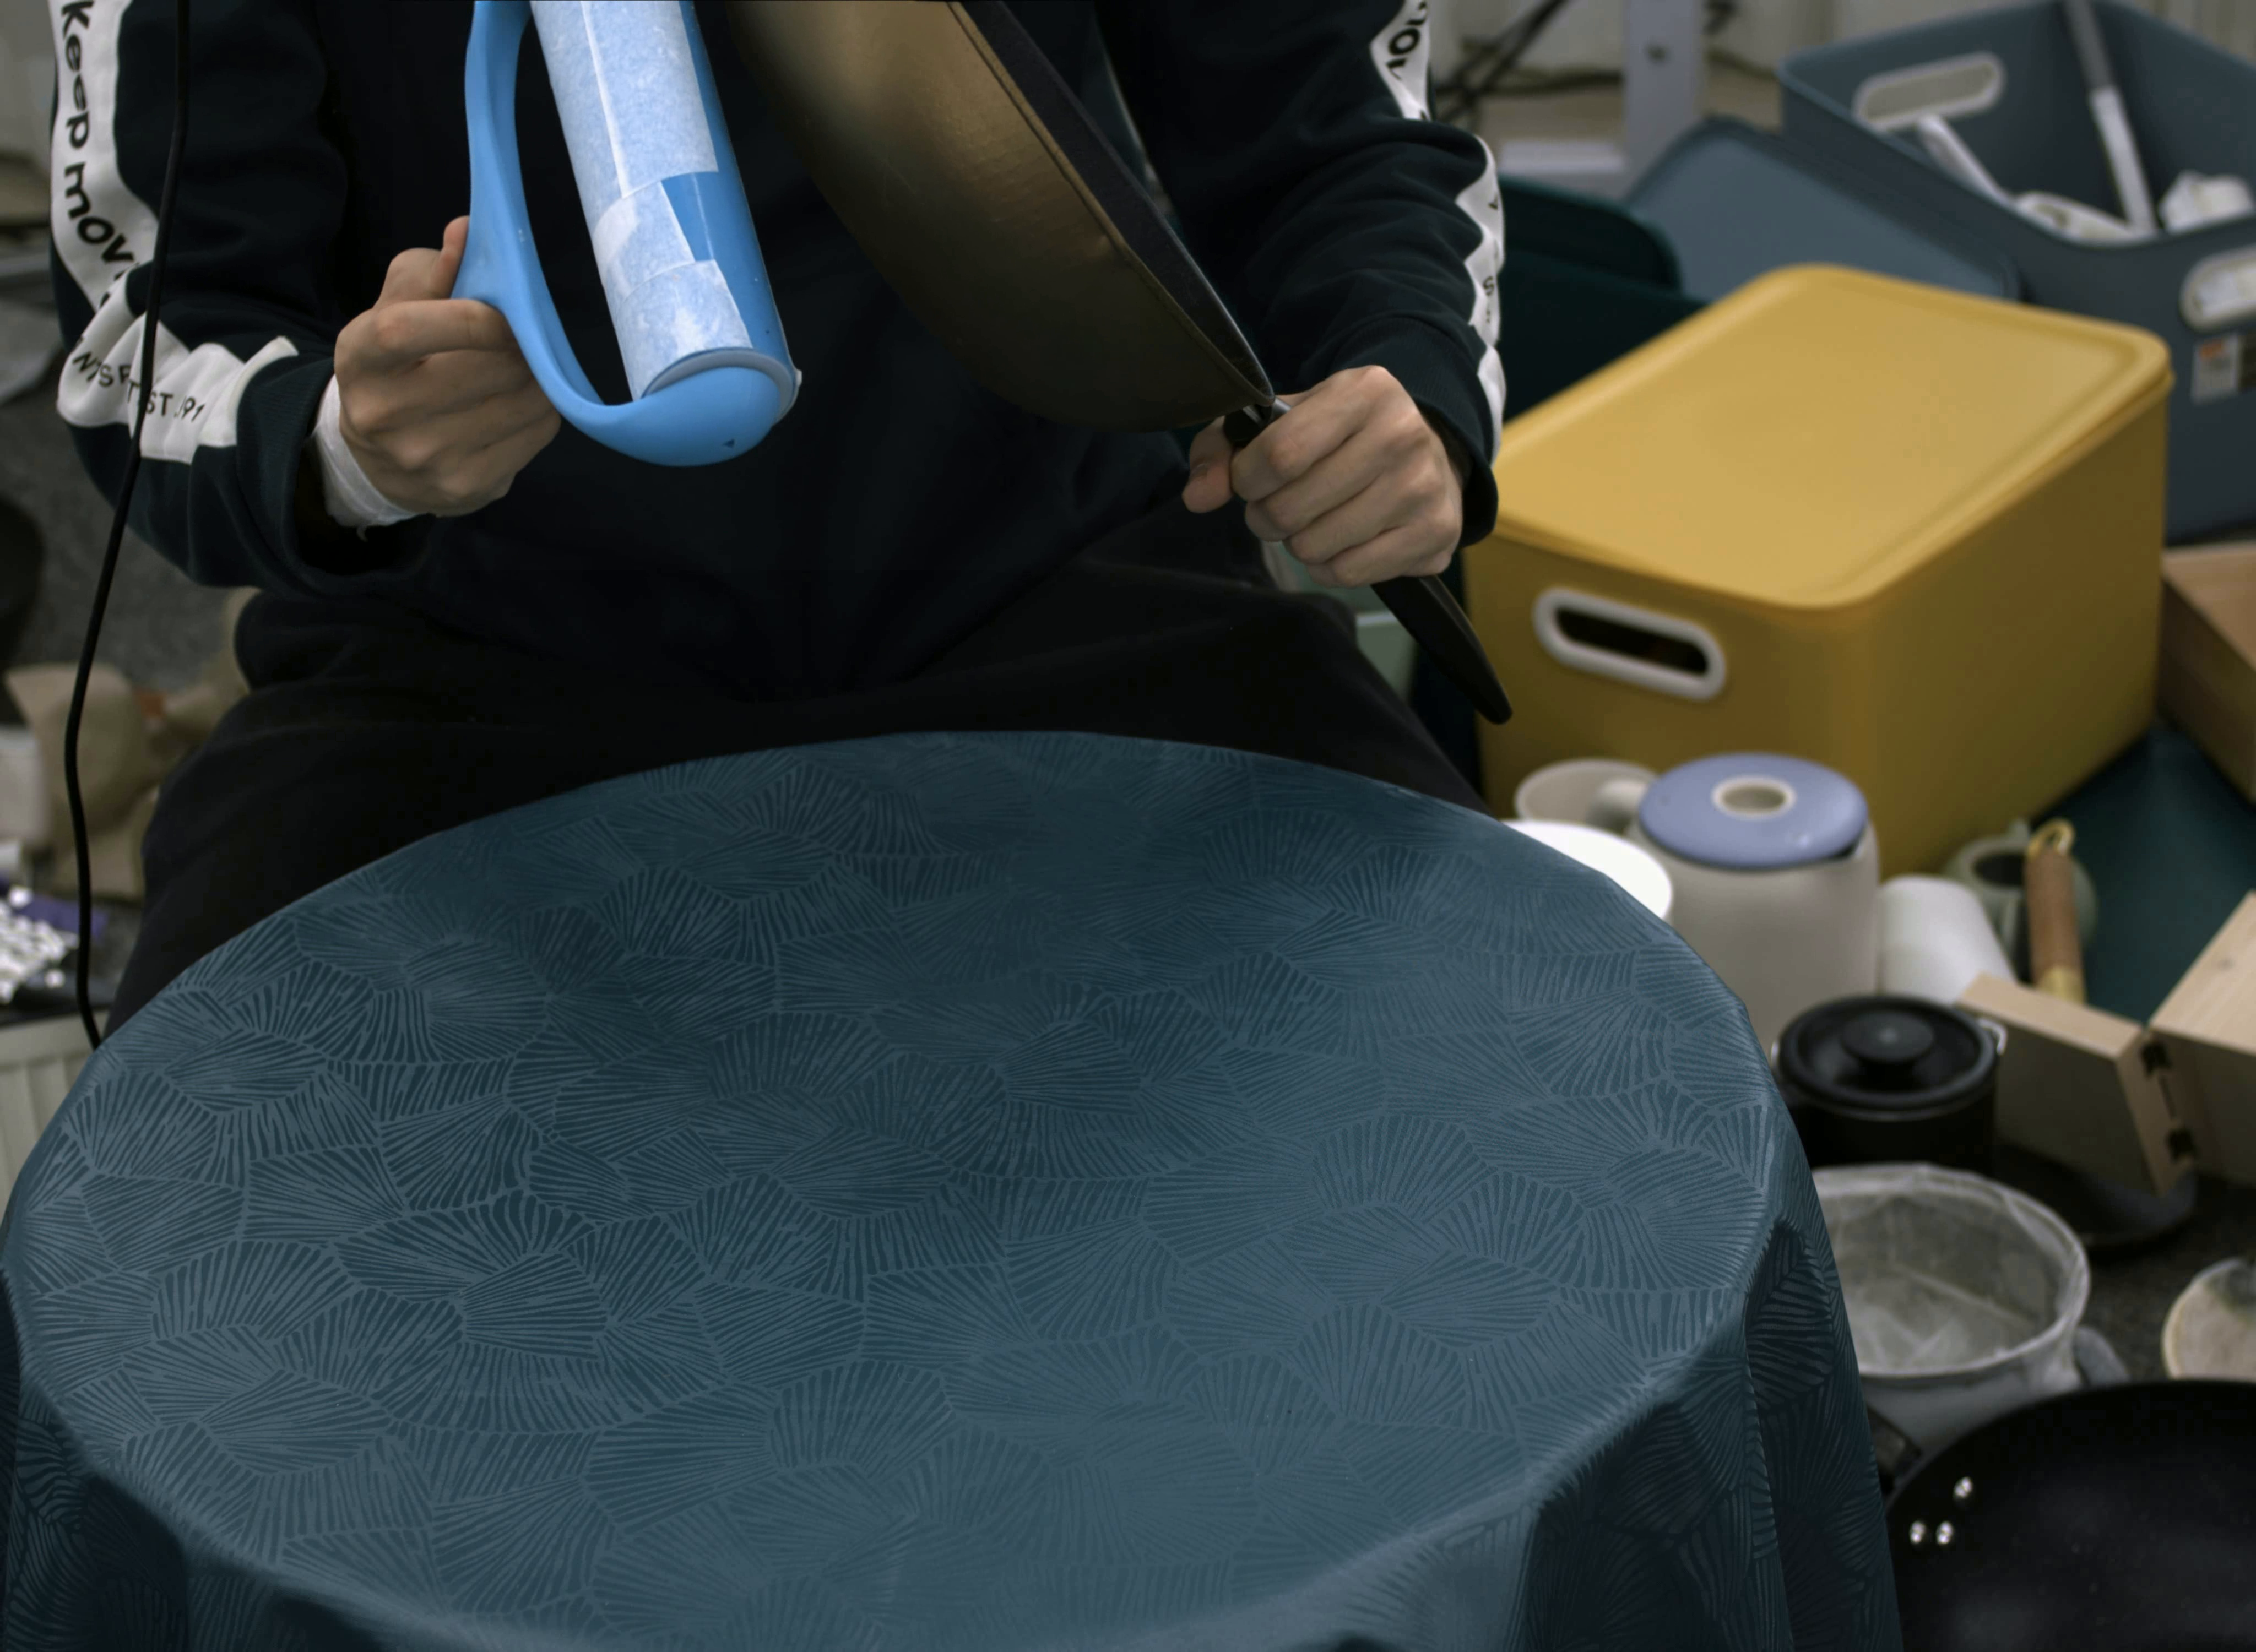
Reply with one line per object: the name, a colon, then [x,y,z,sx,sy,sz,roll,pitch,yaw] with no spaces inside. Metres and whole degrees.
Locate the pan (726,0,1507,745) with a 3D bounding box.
pan: [-0.013,-0.179,2.017,0.086,0.460,0.291,-35,30,6]

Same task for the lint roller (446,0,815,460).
lint roller: [-0.192,-0.186,1.919,0.068,0.177,0.232,13,44,-43]
